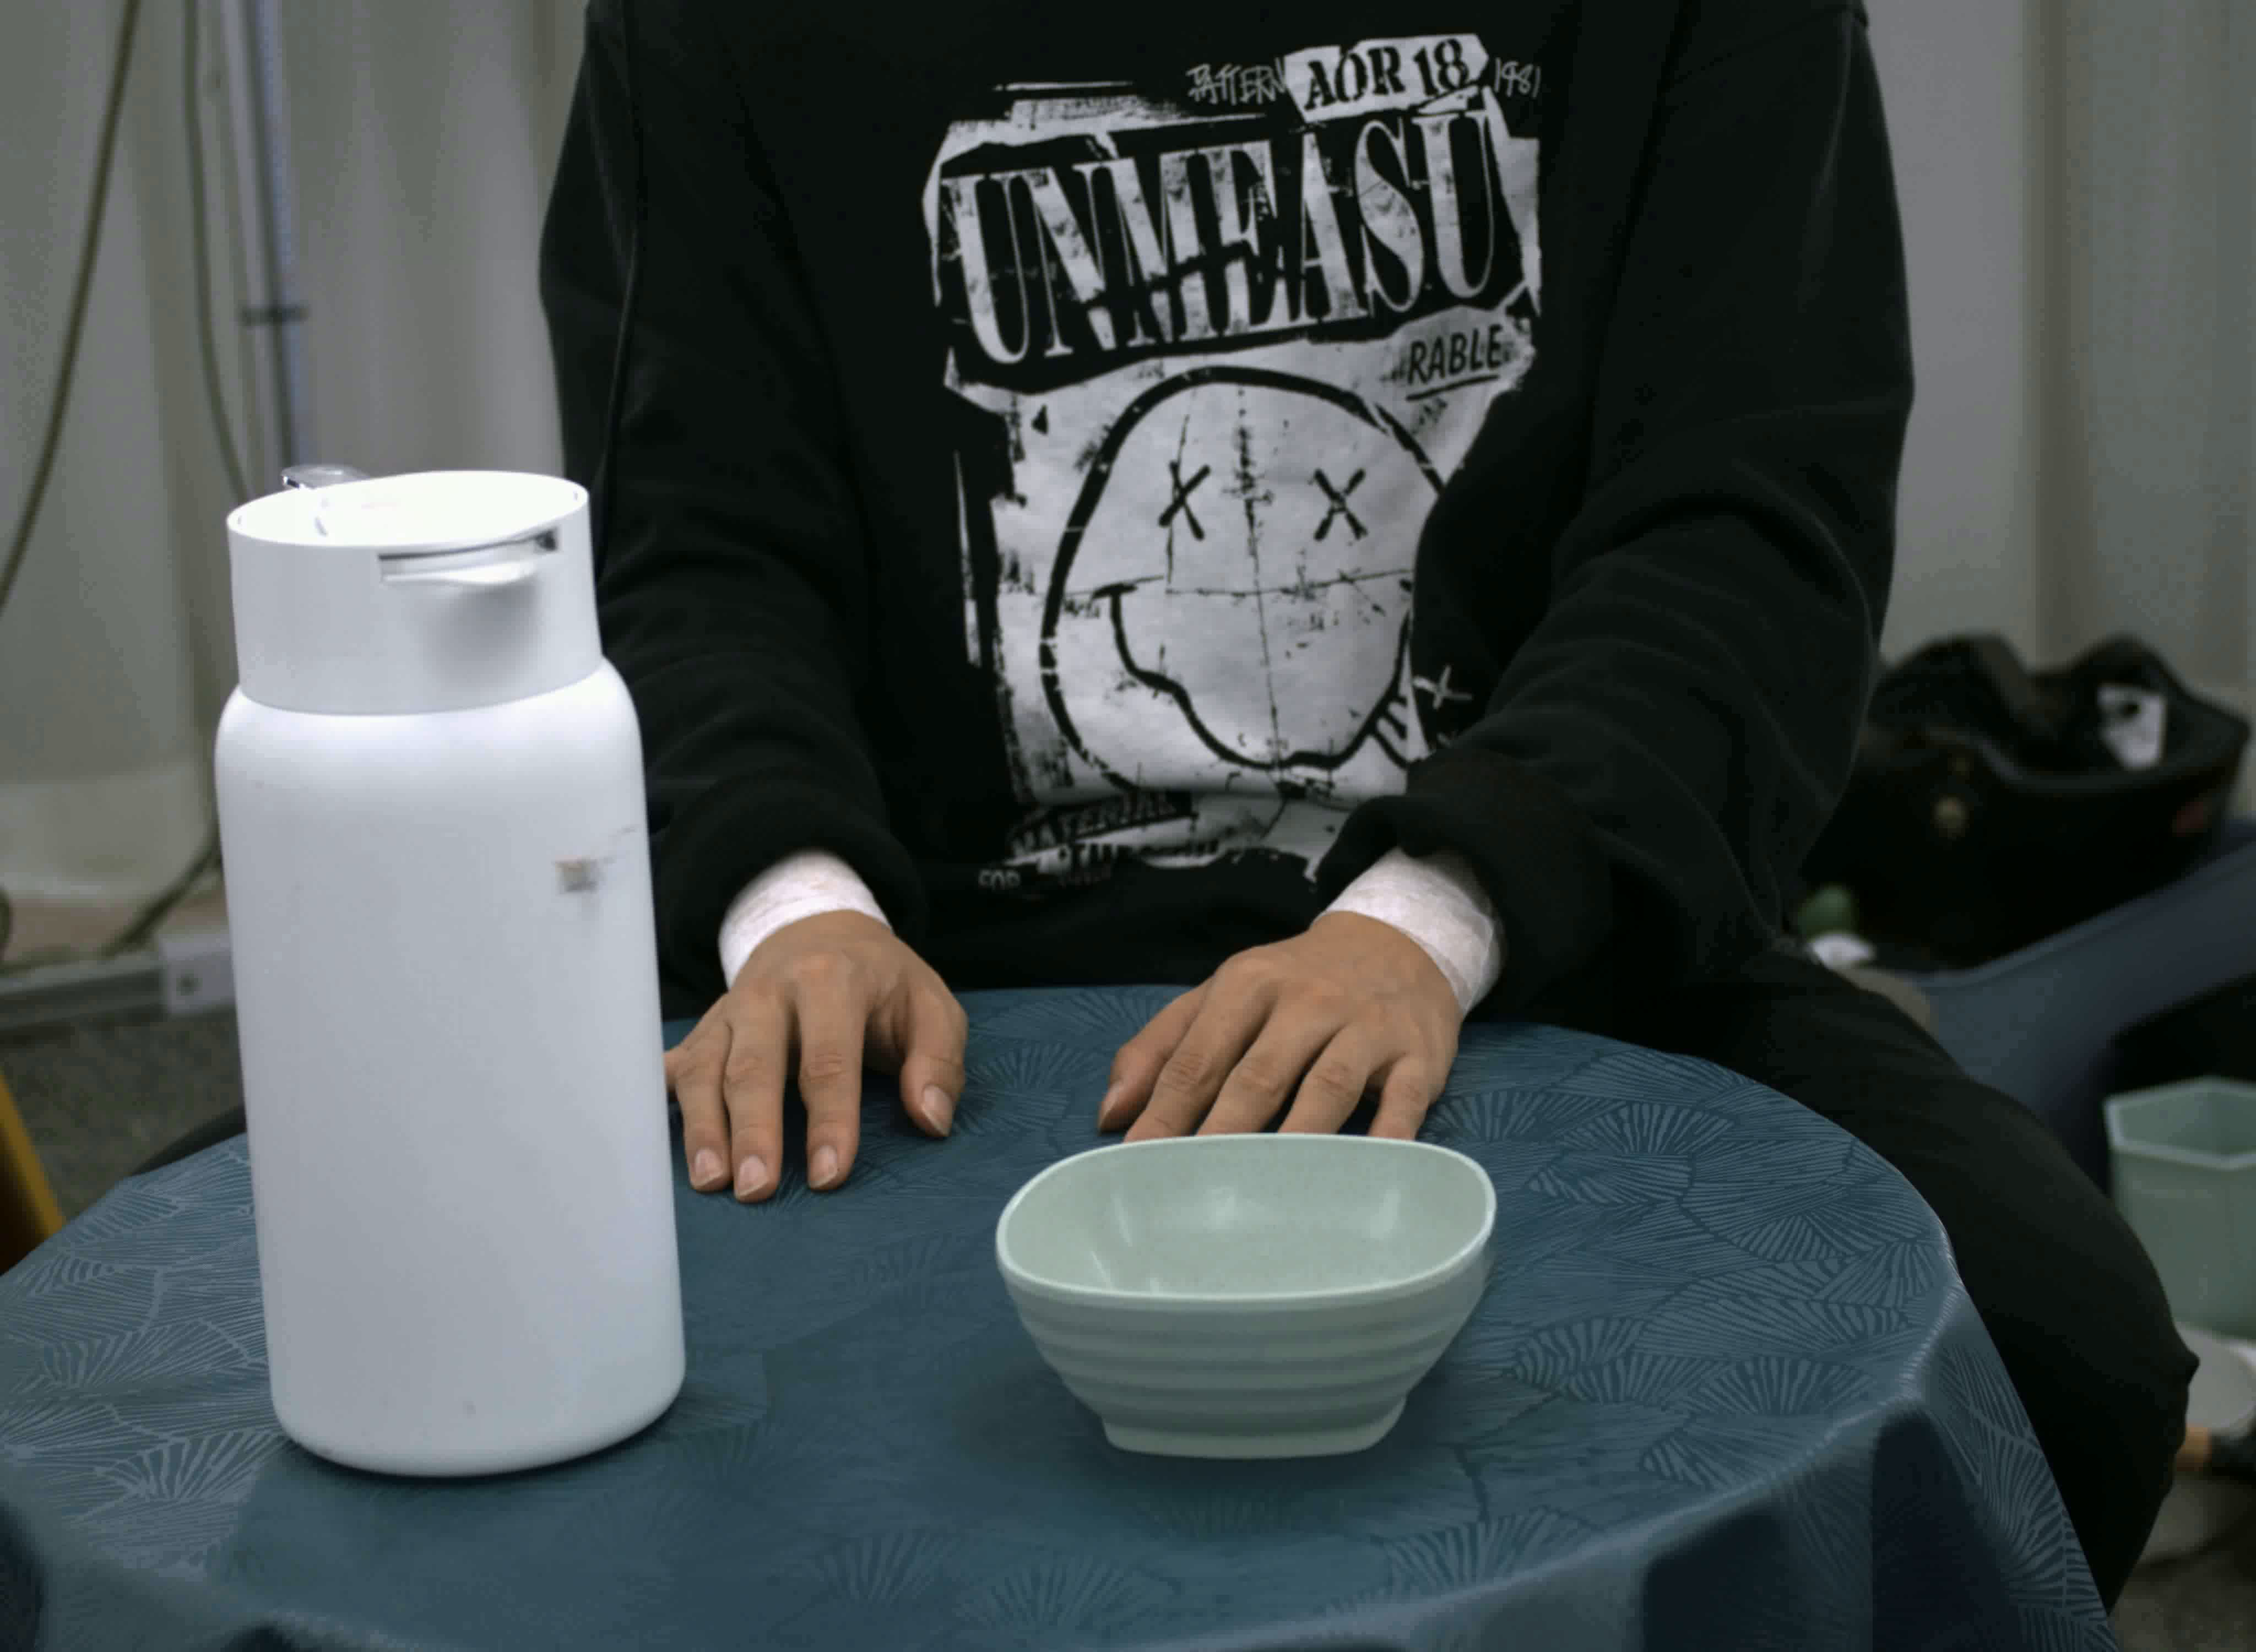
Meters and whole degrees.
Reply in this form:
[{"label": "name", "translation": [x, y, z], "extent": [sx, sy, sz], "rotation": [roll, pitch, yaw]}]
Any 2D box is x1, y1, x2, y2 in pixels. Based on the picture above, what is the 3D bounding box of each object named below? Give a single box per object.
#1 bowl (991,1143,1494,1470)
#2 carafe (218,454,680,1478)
[{"label": "bowl", "translation": [0.033, 0.137, 1.522], "extent": [0.151, 0.058, 0.152], "rotation": [-2, 14, 0]}, {"label": "carafe", "translation": [-0.200, 0.035, 1.535], "extent": [0.123, 0.268, 0.174], "rotation": [-13, 17, -29]}]
